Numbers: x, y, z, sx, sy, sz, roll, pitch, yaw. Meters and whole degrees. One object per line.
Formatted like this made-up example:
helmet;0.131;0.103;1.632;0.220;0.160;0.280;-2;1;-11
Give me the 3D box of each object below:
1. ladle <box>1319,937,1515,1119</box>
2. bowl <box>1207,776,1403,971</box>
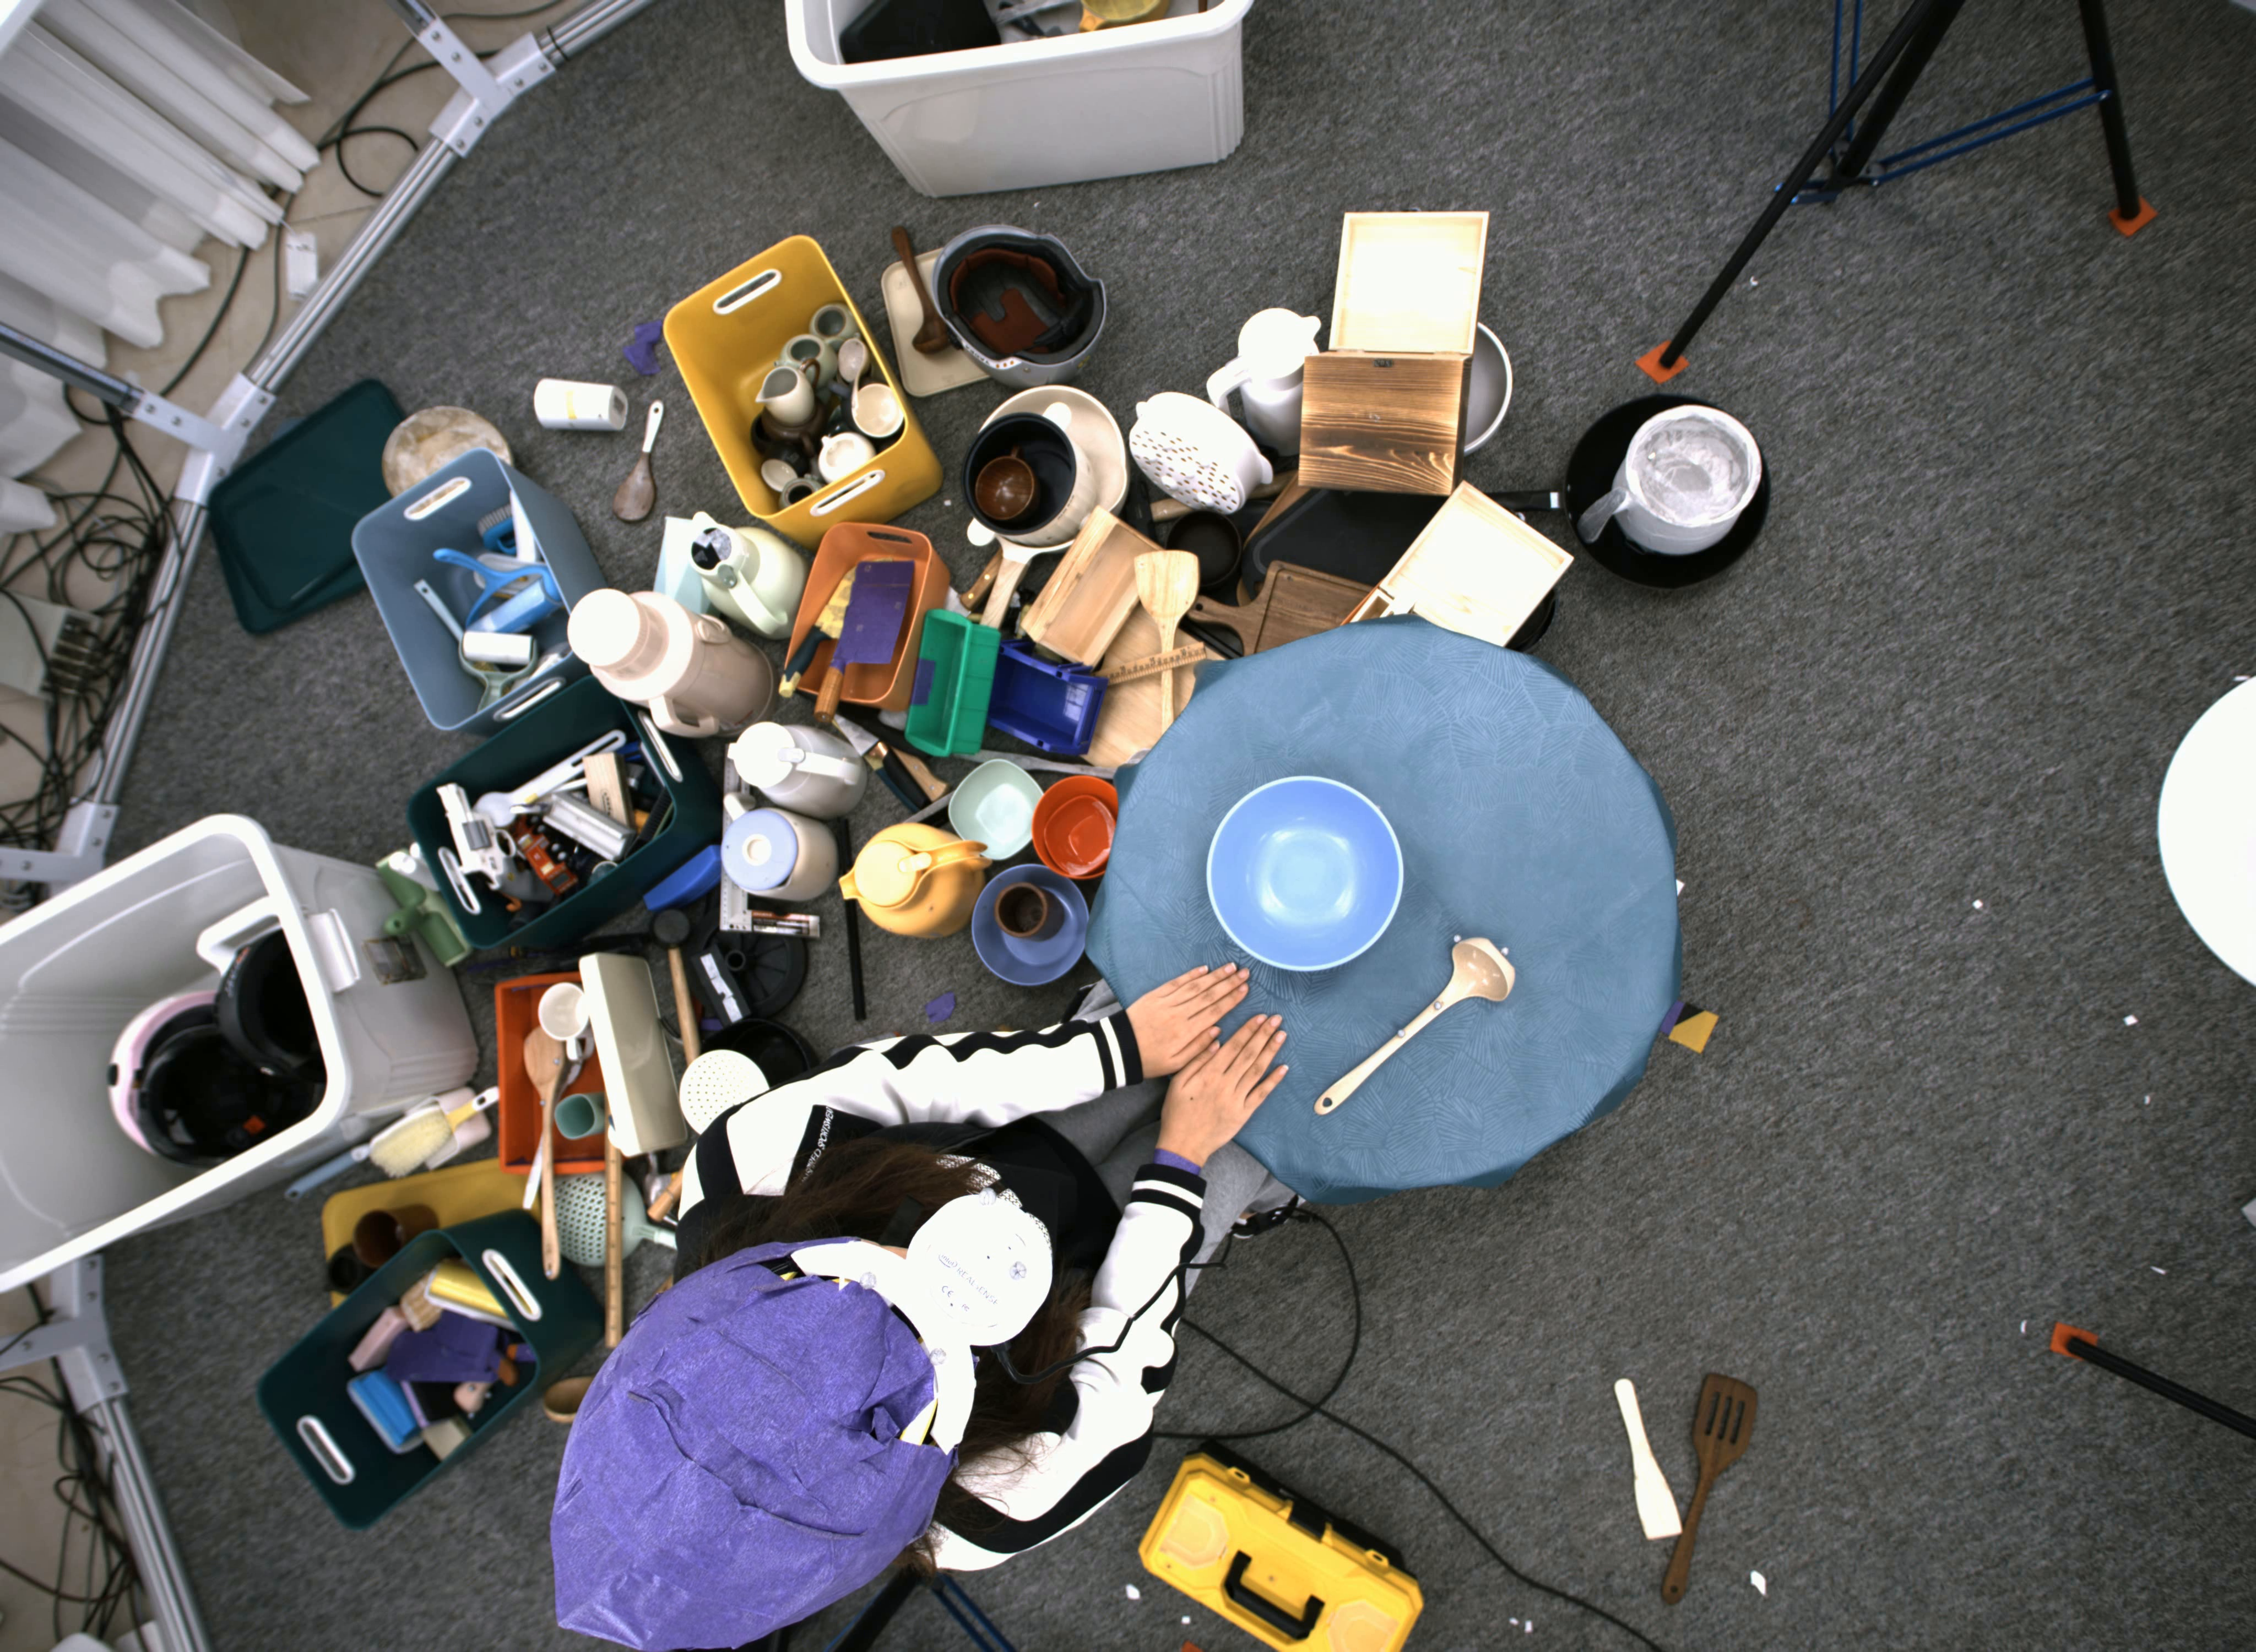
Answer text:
ladle;0.288;0.213;1.412;0.255;0.073;0.072;-44;79;5
bowl;0.184;0.051;1.432;0.197;0.095;0.196;-1;87;9
